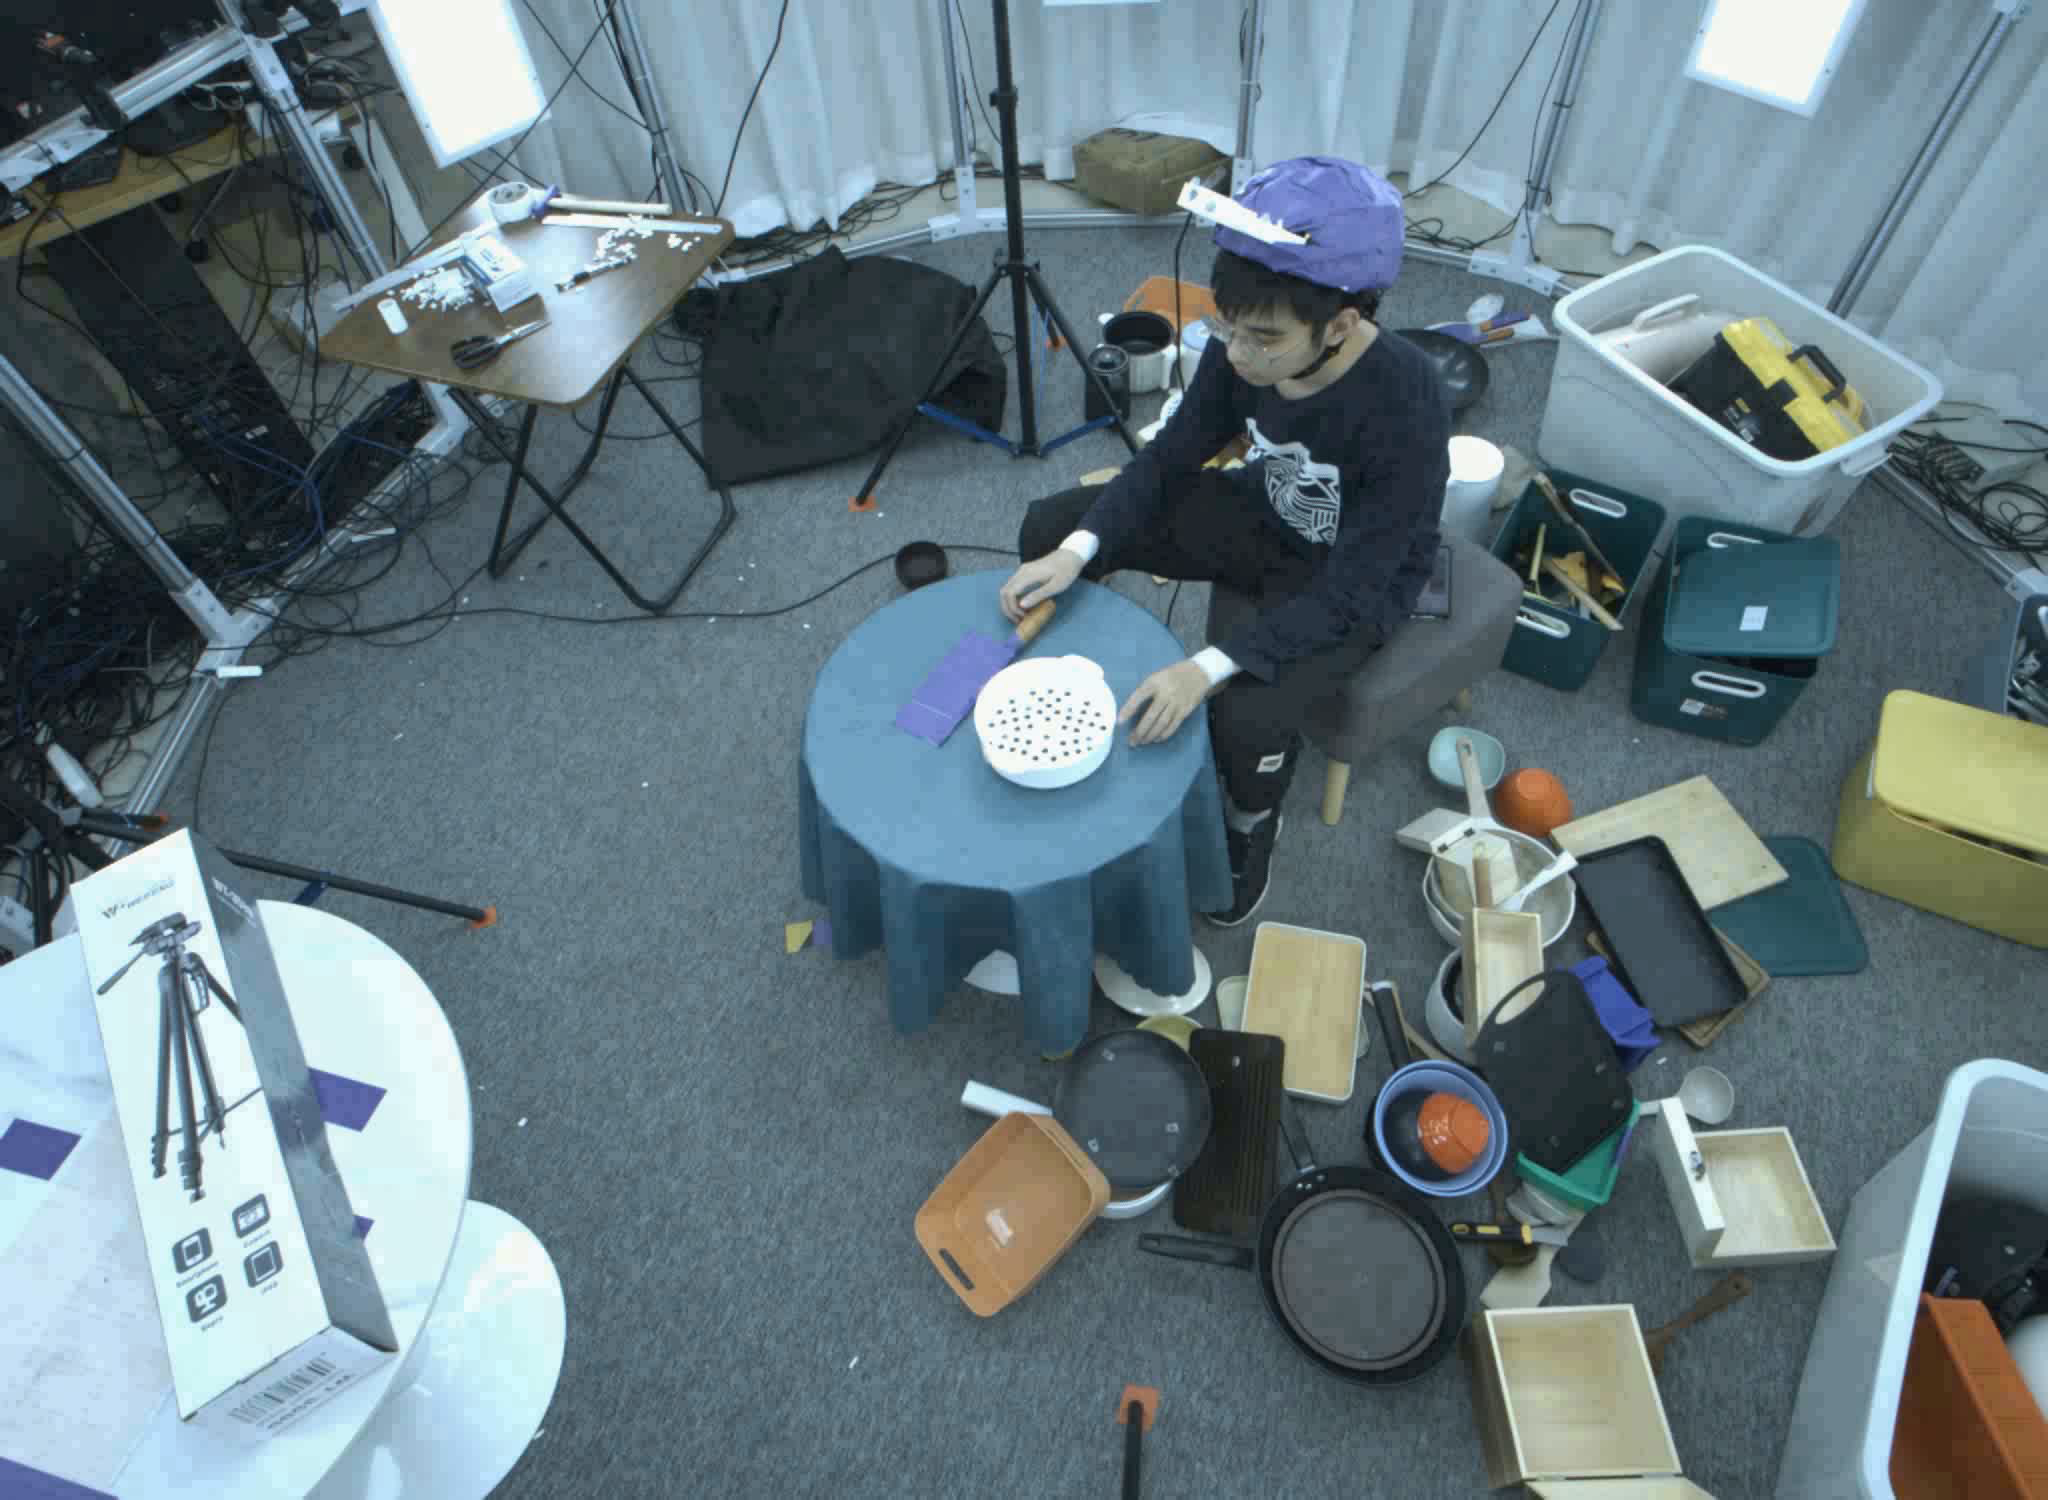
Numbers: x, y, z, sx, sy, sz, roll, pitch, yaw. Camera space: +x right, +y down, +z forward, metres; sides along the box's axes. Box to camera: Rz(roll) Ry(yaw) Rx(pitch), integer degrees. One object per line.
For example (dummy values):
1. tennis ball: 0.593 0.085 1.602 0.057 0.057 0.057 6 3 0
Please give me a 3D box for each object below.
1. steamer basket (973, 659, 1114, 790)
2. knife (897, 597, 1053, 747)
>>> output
1. steamer basket: 0.028 -0.034 1.779 0.199 0.070 0.232 29 57 19
2. knife: -0.076 -0.135 1.877 0.102 0.032 0.316 27 60 19
